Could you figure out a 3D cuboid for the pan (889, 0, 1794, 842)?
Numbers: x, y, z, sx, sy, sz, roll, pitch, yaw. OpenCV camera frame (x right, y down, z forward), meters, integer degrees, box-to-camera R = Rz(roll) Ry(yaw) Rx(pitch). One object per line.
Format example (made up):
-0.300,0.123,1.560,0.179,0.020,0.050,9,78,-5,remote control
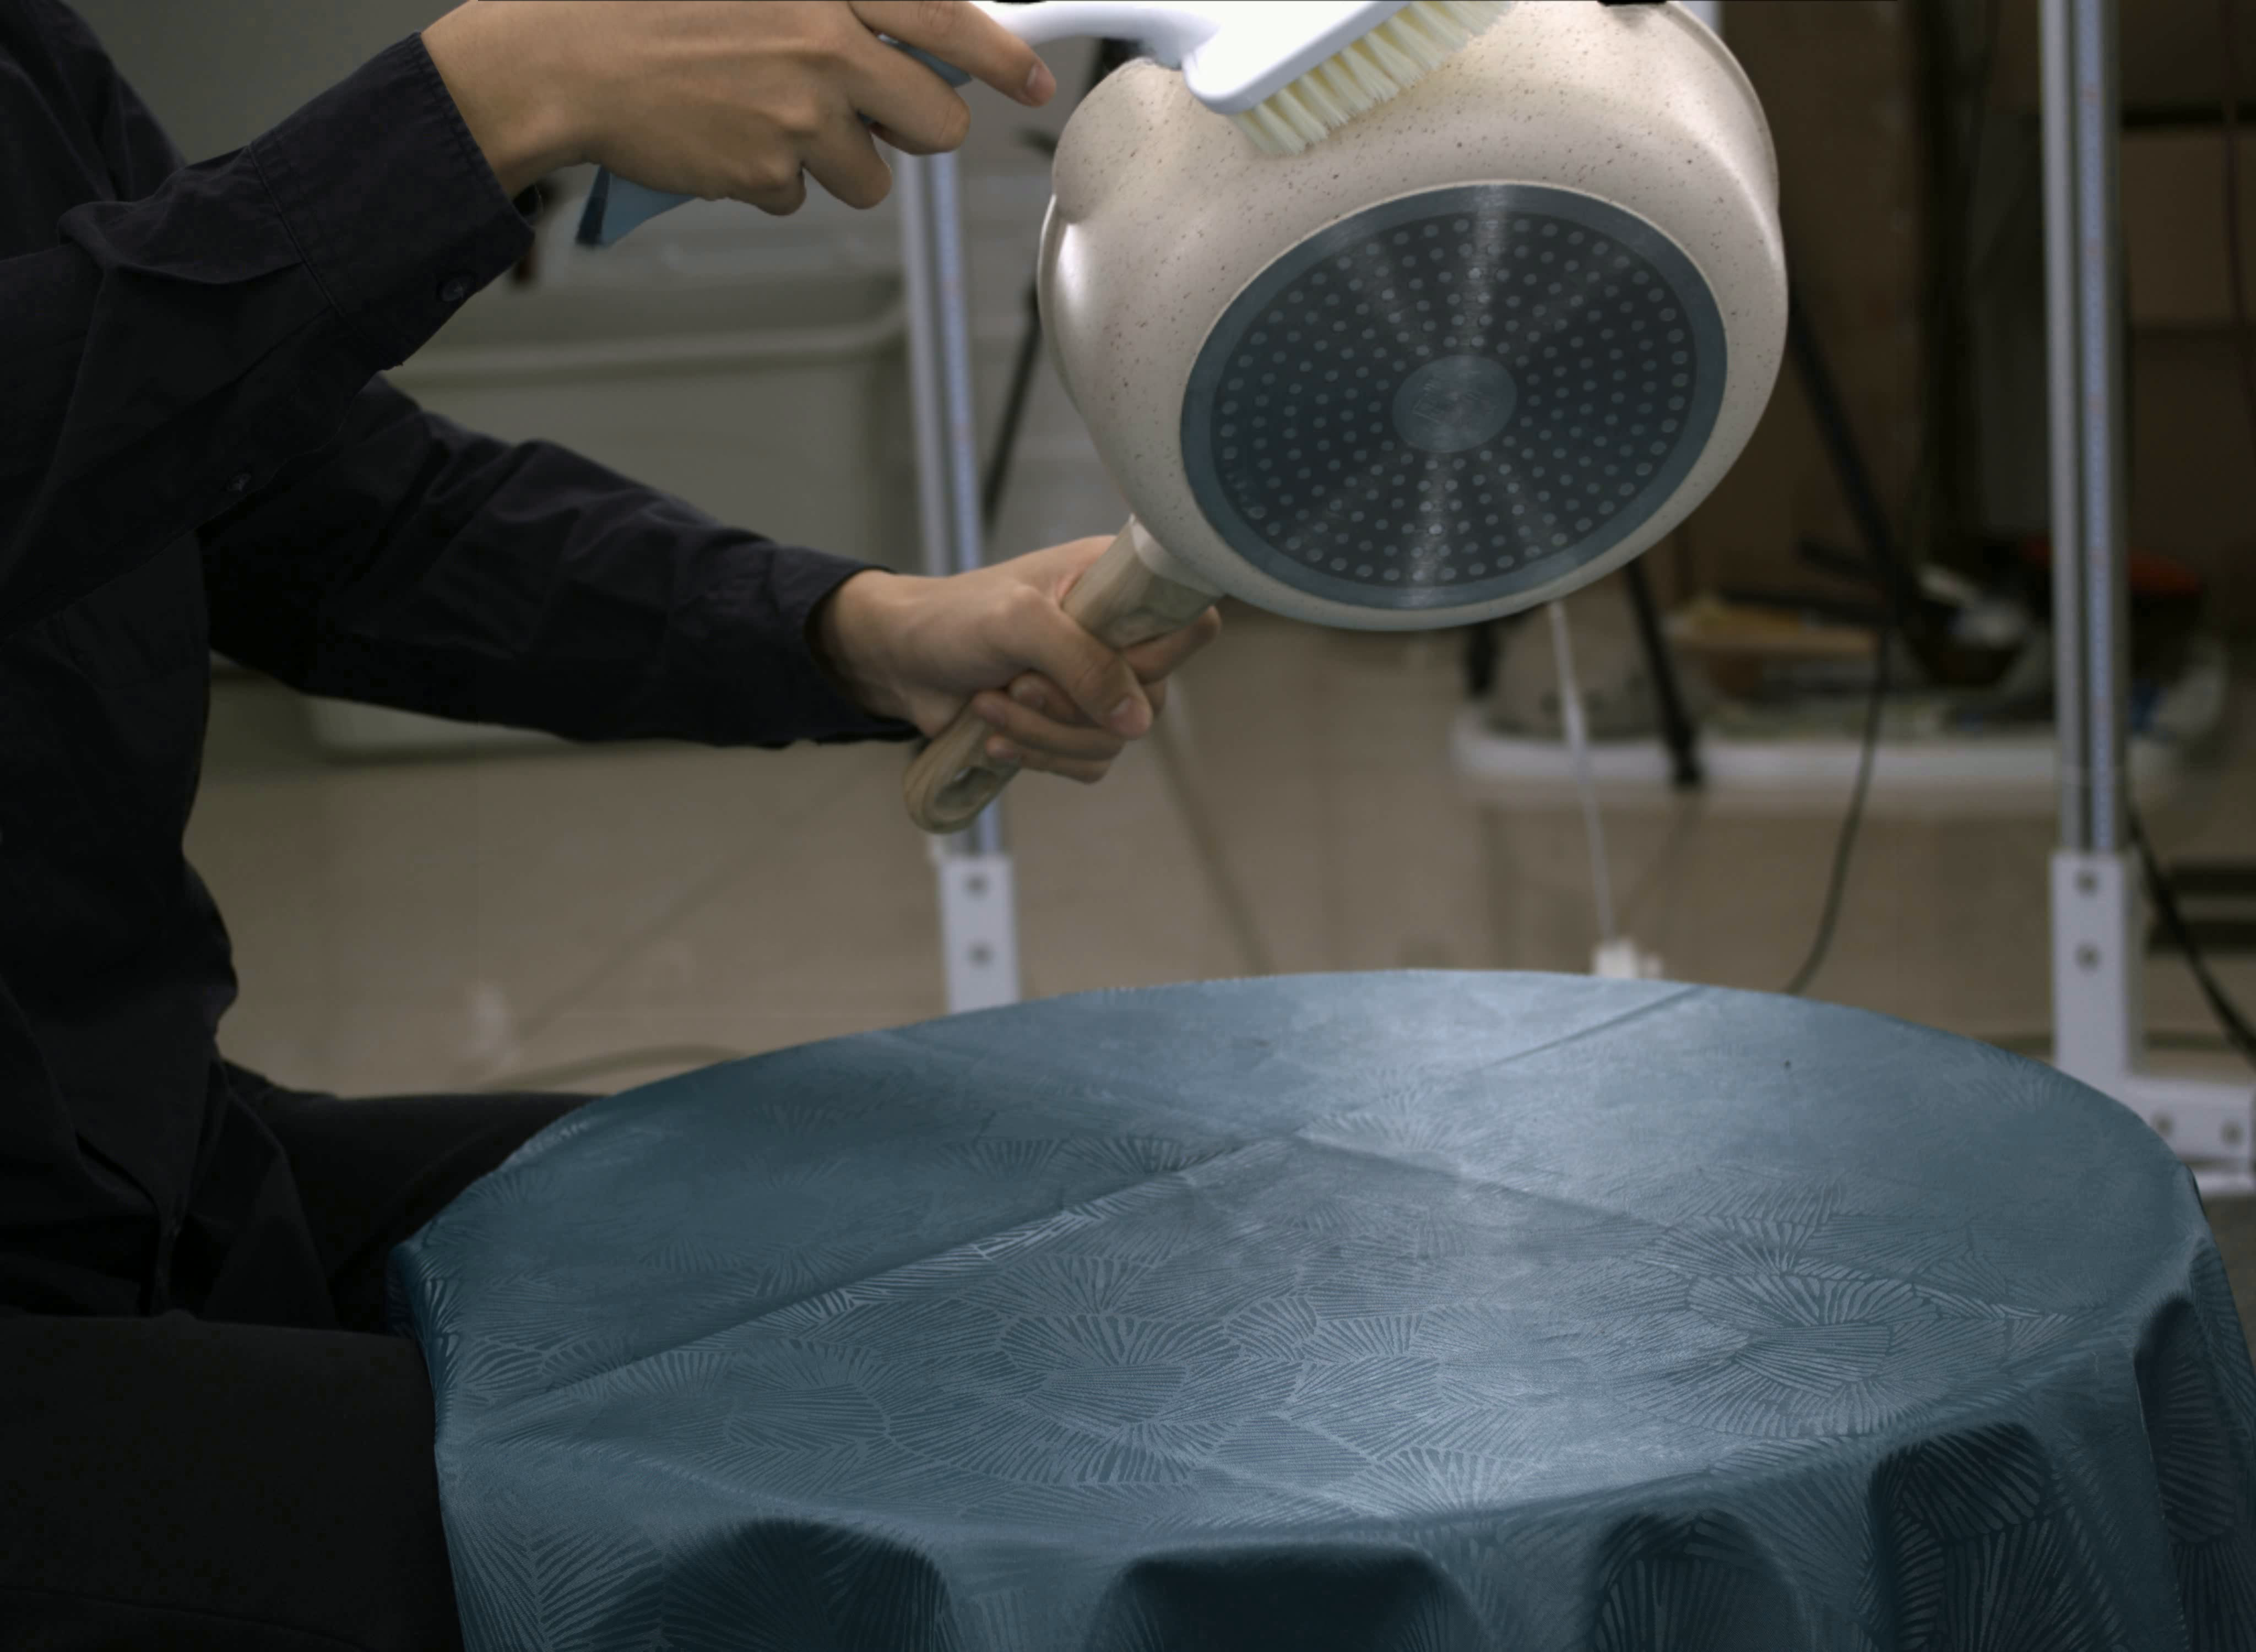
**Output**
0.051,-0.111,1.856,0.258,0.443,0.102,19,39,-29,pan

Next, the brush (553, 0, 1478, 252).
-0.022,-0.232,1.710,0.328,0.084,0.082,-21,15,13,brush
